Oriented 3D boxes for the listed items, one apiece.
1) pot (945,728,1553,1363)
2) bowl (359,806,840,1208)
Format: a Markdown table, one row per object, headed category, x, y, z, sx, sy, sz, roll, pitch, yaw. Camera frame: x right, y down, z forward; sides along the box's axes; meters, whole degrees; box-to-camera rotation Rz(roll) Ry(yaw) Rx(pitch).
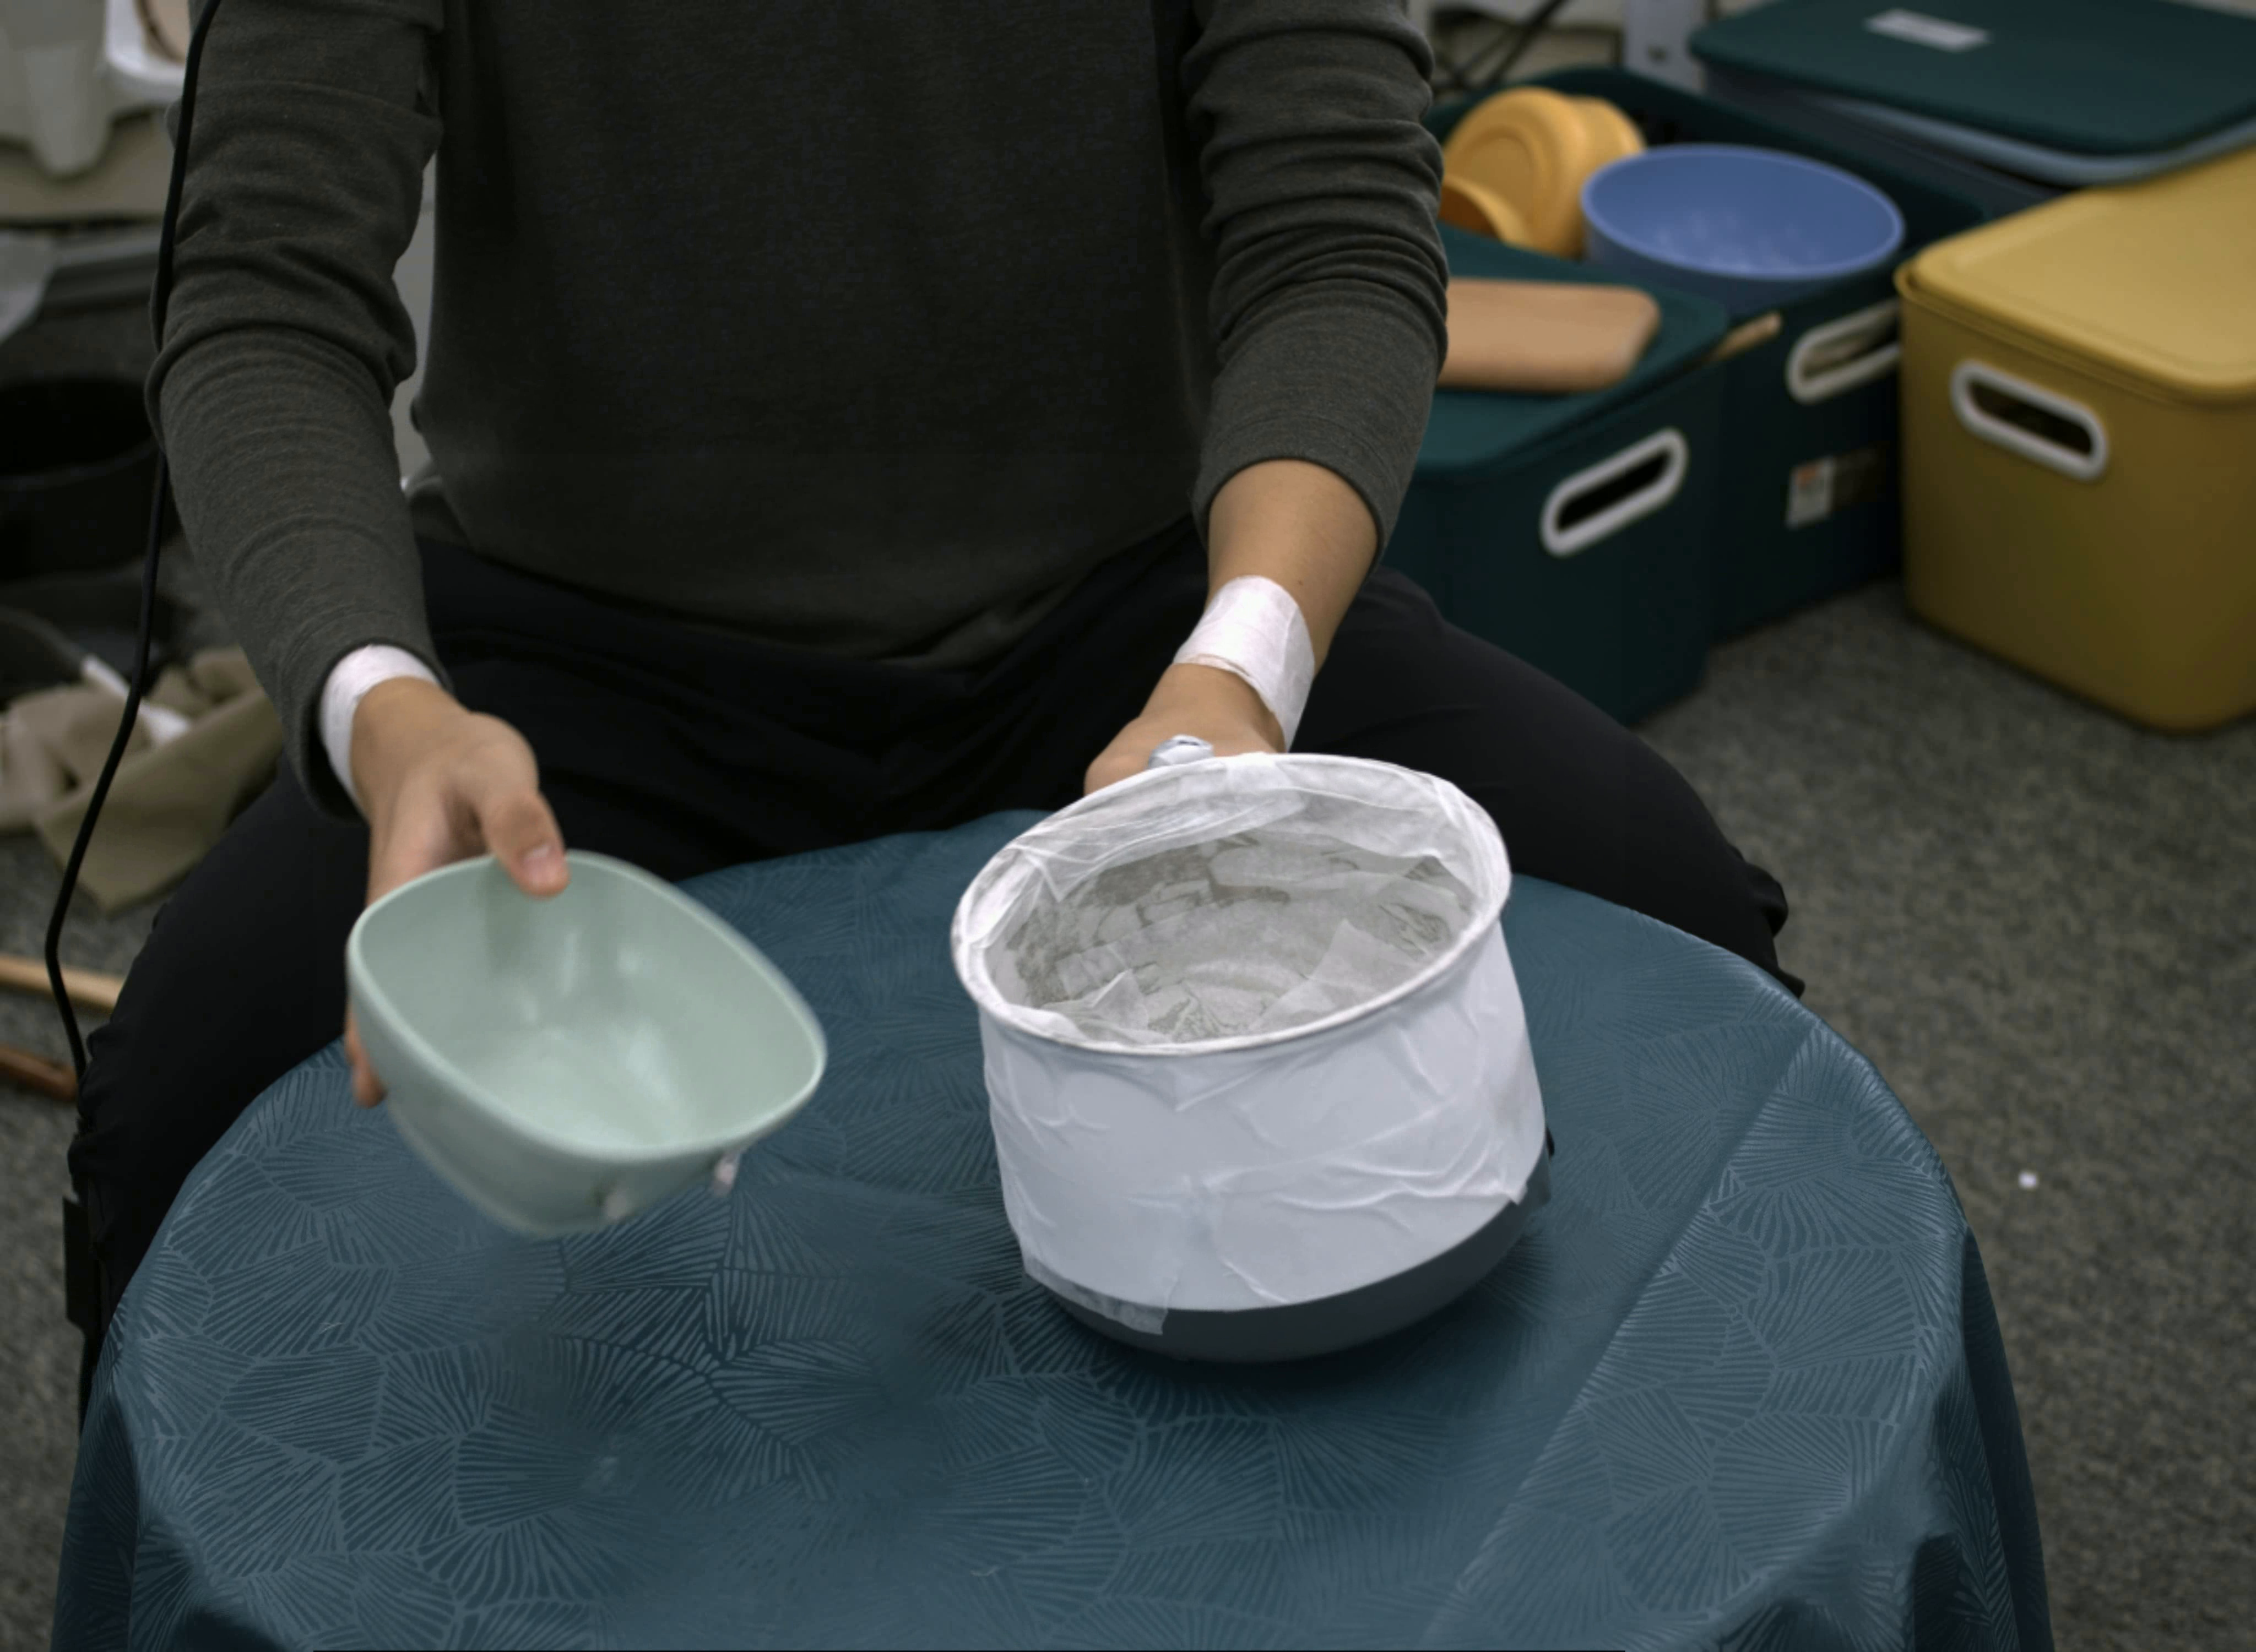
| category | x | y | z | sx | sy | sz | roll | pitch | yaw |
| --- | --- | --- | --- | --- | --- | --- | --- | --- | --- |
| pot | 0.035 | 0.062 | 1.809 | 0.178 | 0.135 | 0.237 | -13 | 29 | -4 |
| bowl | -0.168 | 0.064 | 1.725 | 0.151 | 0.058 | 0.154 | 15 | 36 | -11 |
